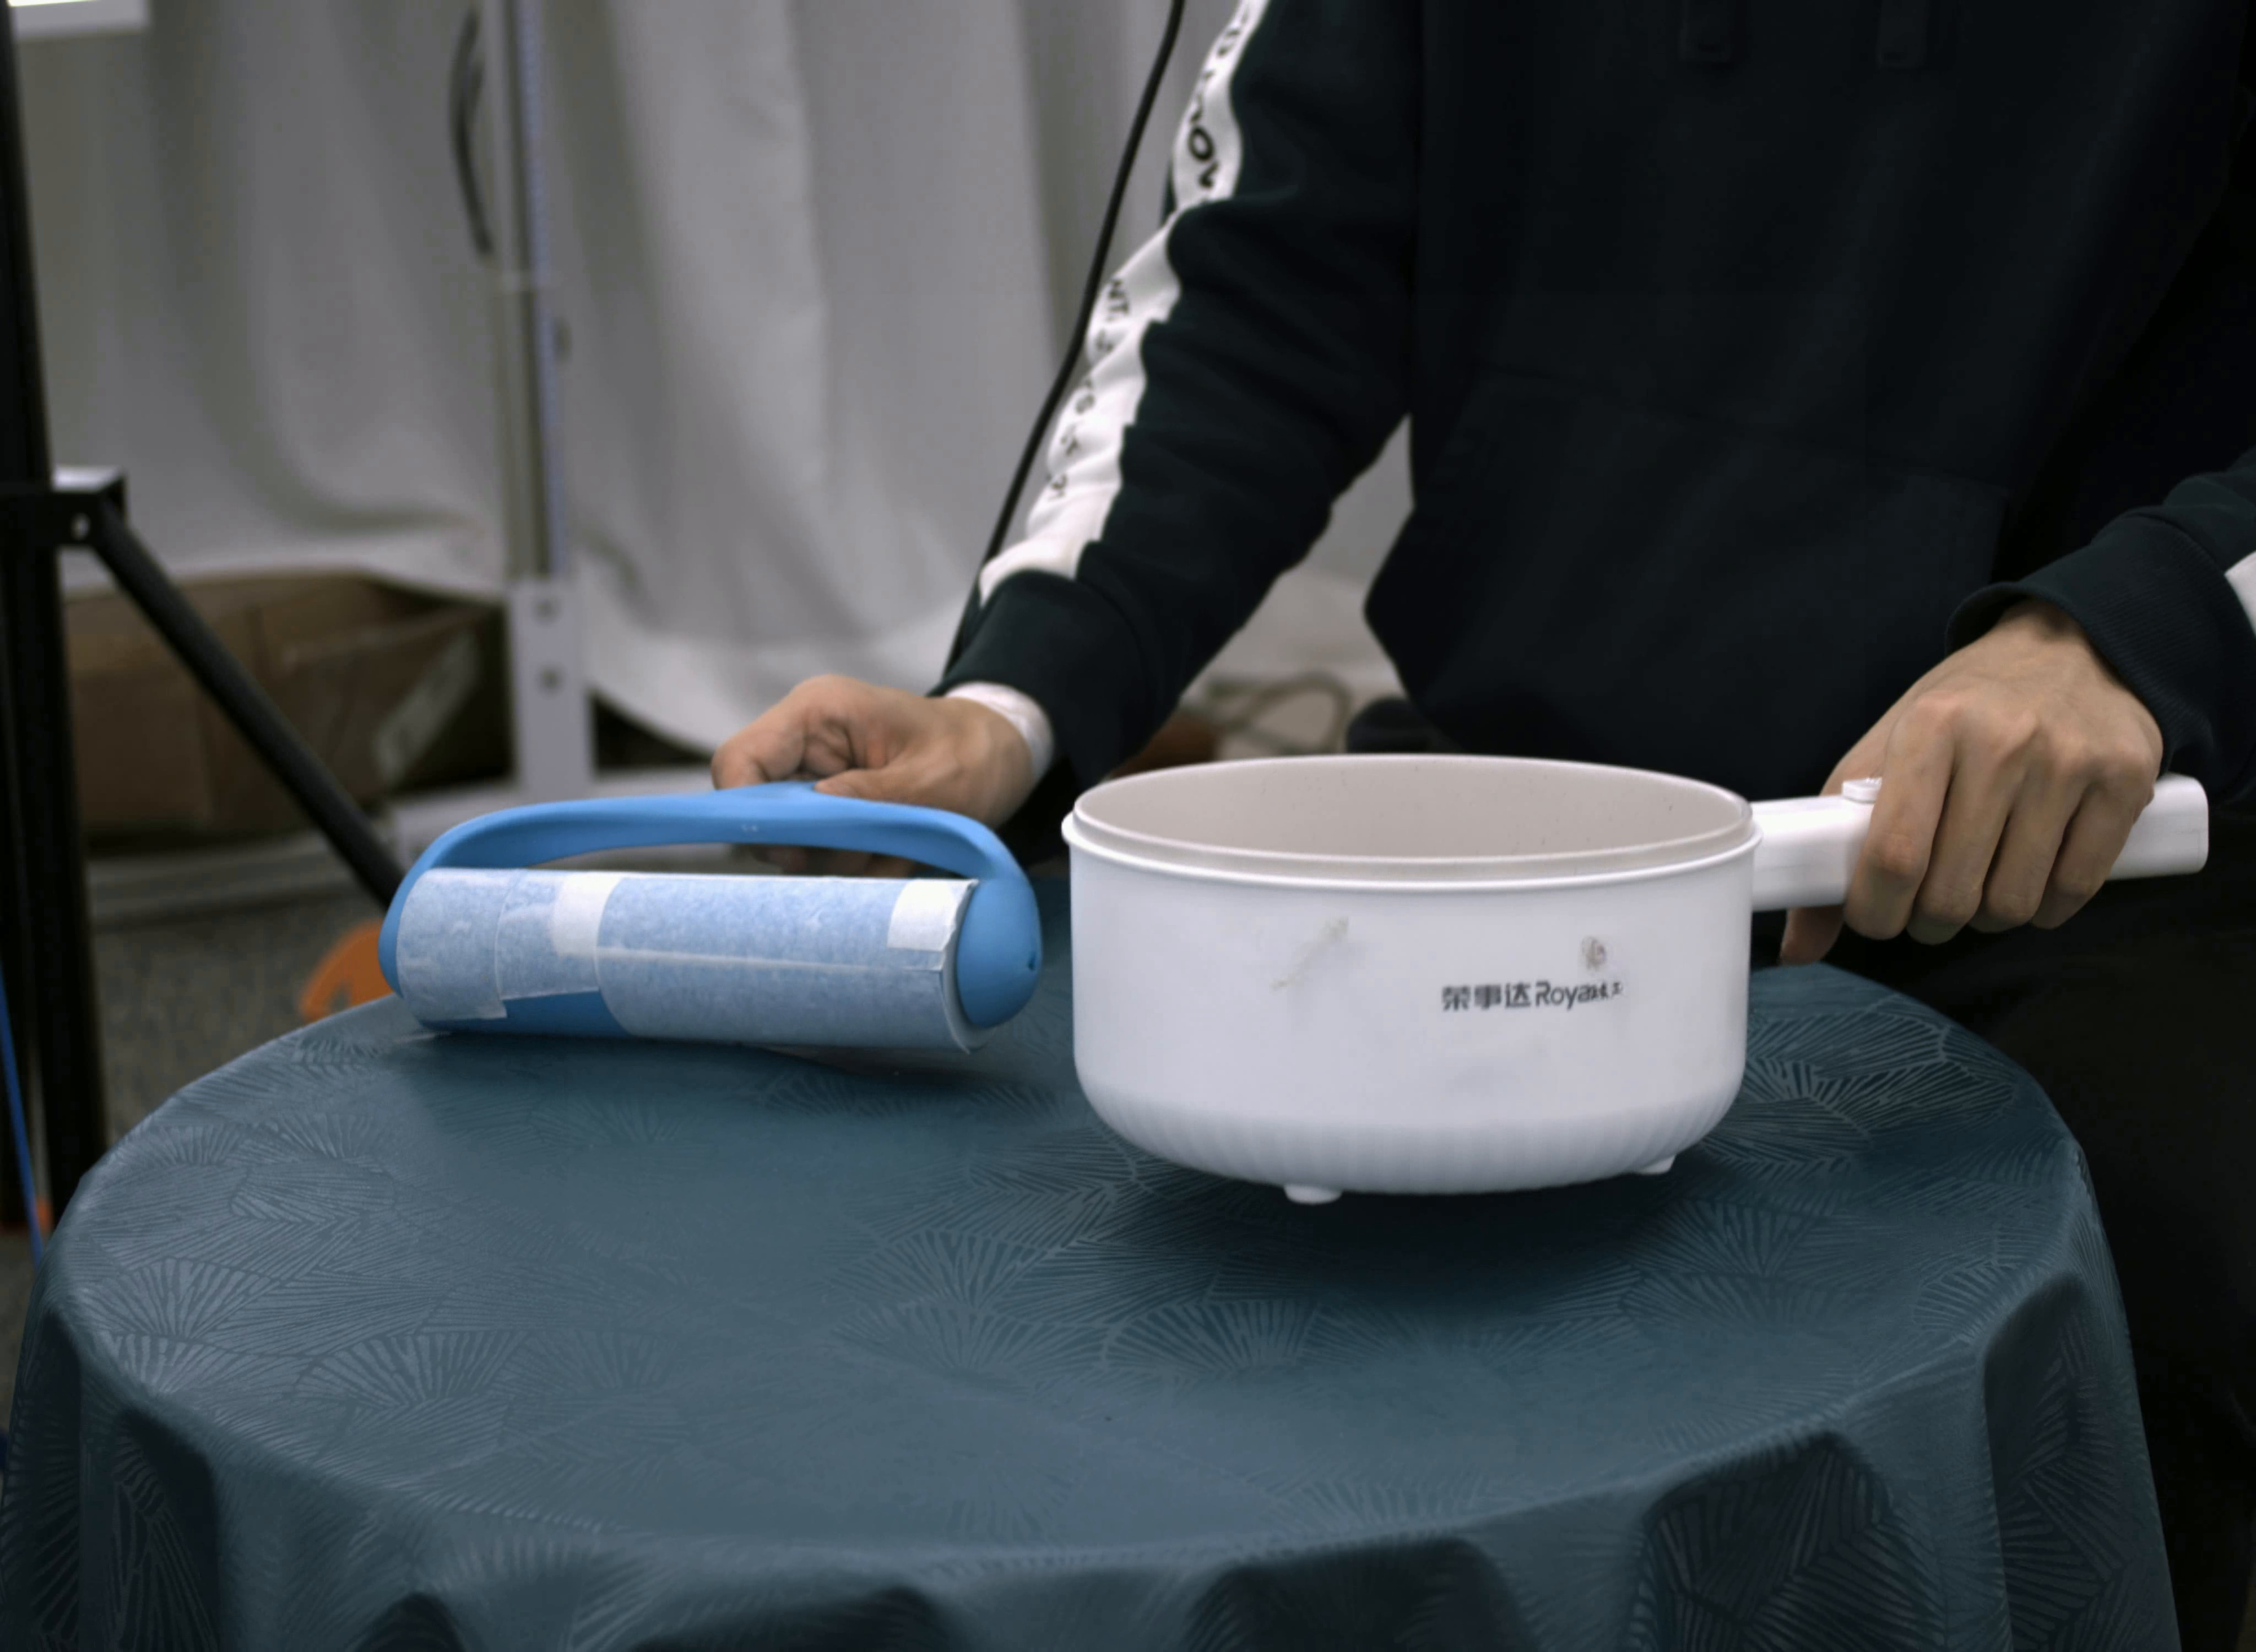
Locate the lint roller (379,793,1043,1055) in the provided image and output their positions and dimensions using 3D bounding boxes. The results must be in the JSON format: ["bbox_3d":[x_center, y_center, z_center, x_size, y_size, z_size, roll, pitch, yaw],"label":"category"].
[{"bbox_3d":[-0.117,0.020,1.744,0.232,0.068,0.178,-2,21,22],"label":"lint roller"}]

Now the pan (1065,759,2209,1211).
[{"bbox_3d":[0.153,0.042,1.548,0.348,0.102,0.204,-3,9,-19],"label":"pan"}]
